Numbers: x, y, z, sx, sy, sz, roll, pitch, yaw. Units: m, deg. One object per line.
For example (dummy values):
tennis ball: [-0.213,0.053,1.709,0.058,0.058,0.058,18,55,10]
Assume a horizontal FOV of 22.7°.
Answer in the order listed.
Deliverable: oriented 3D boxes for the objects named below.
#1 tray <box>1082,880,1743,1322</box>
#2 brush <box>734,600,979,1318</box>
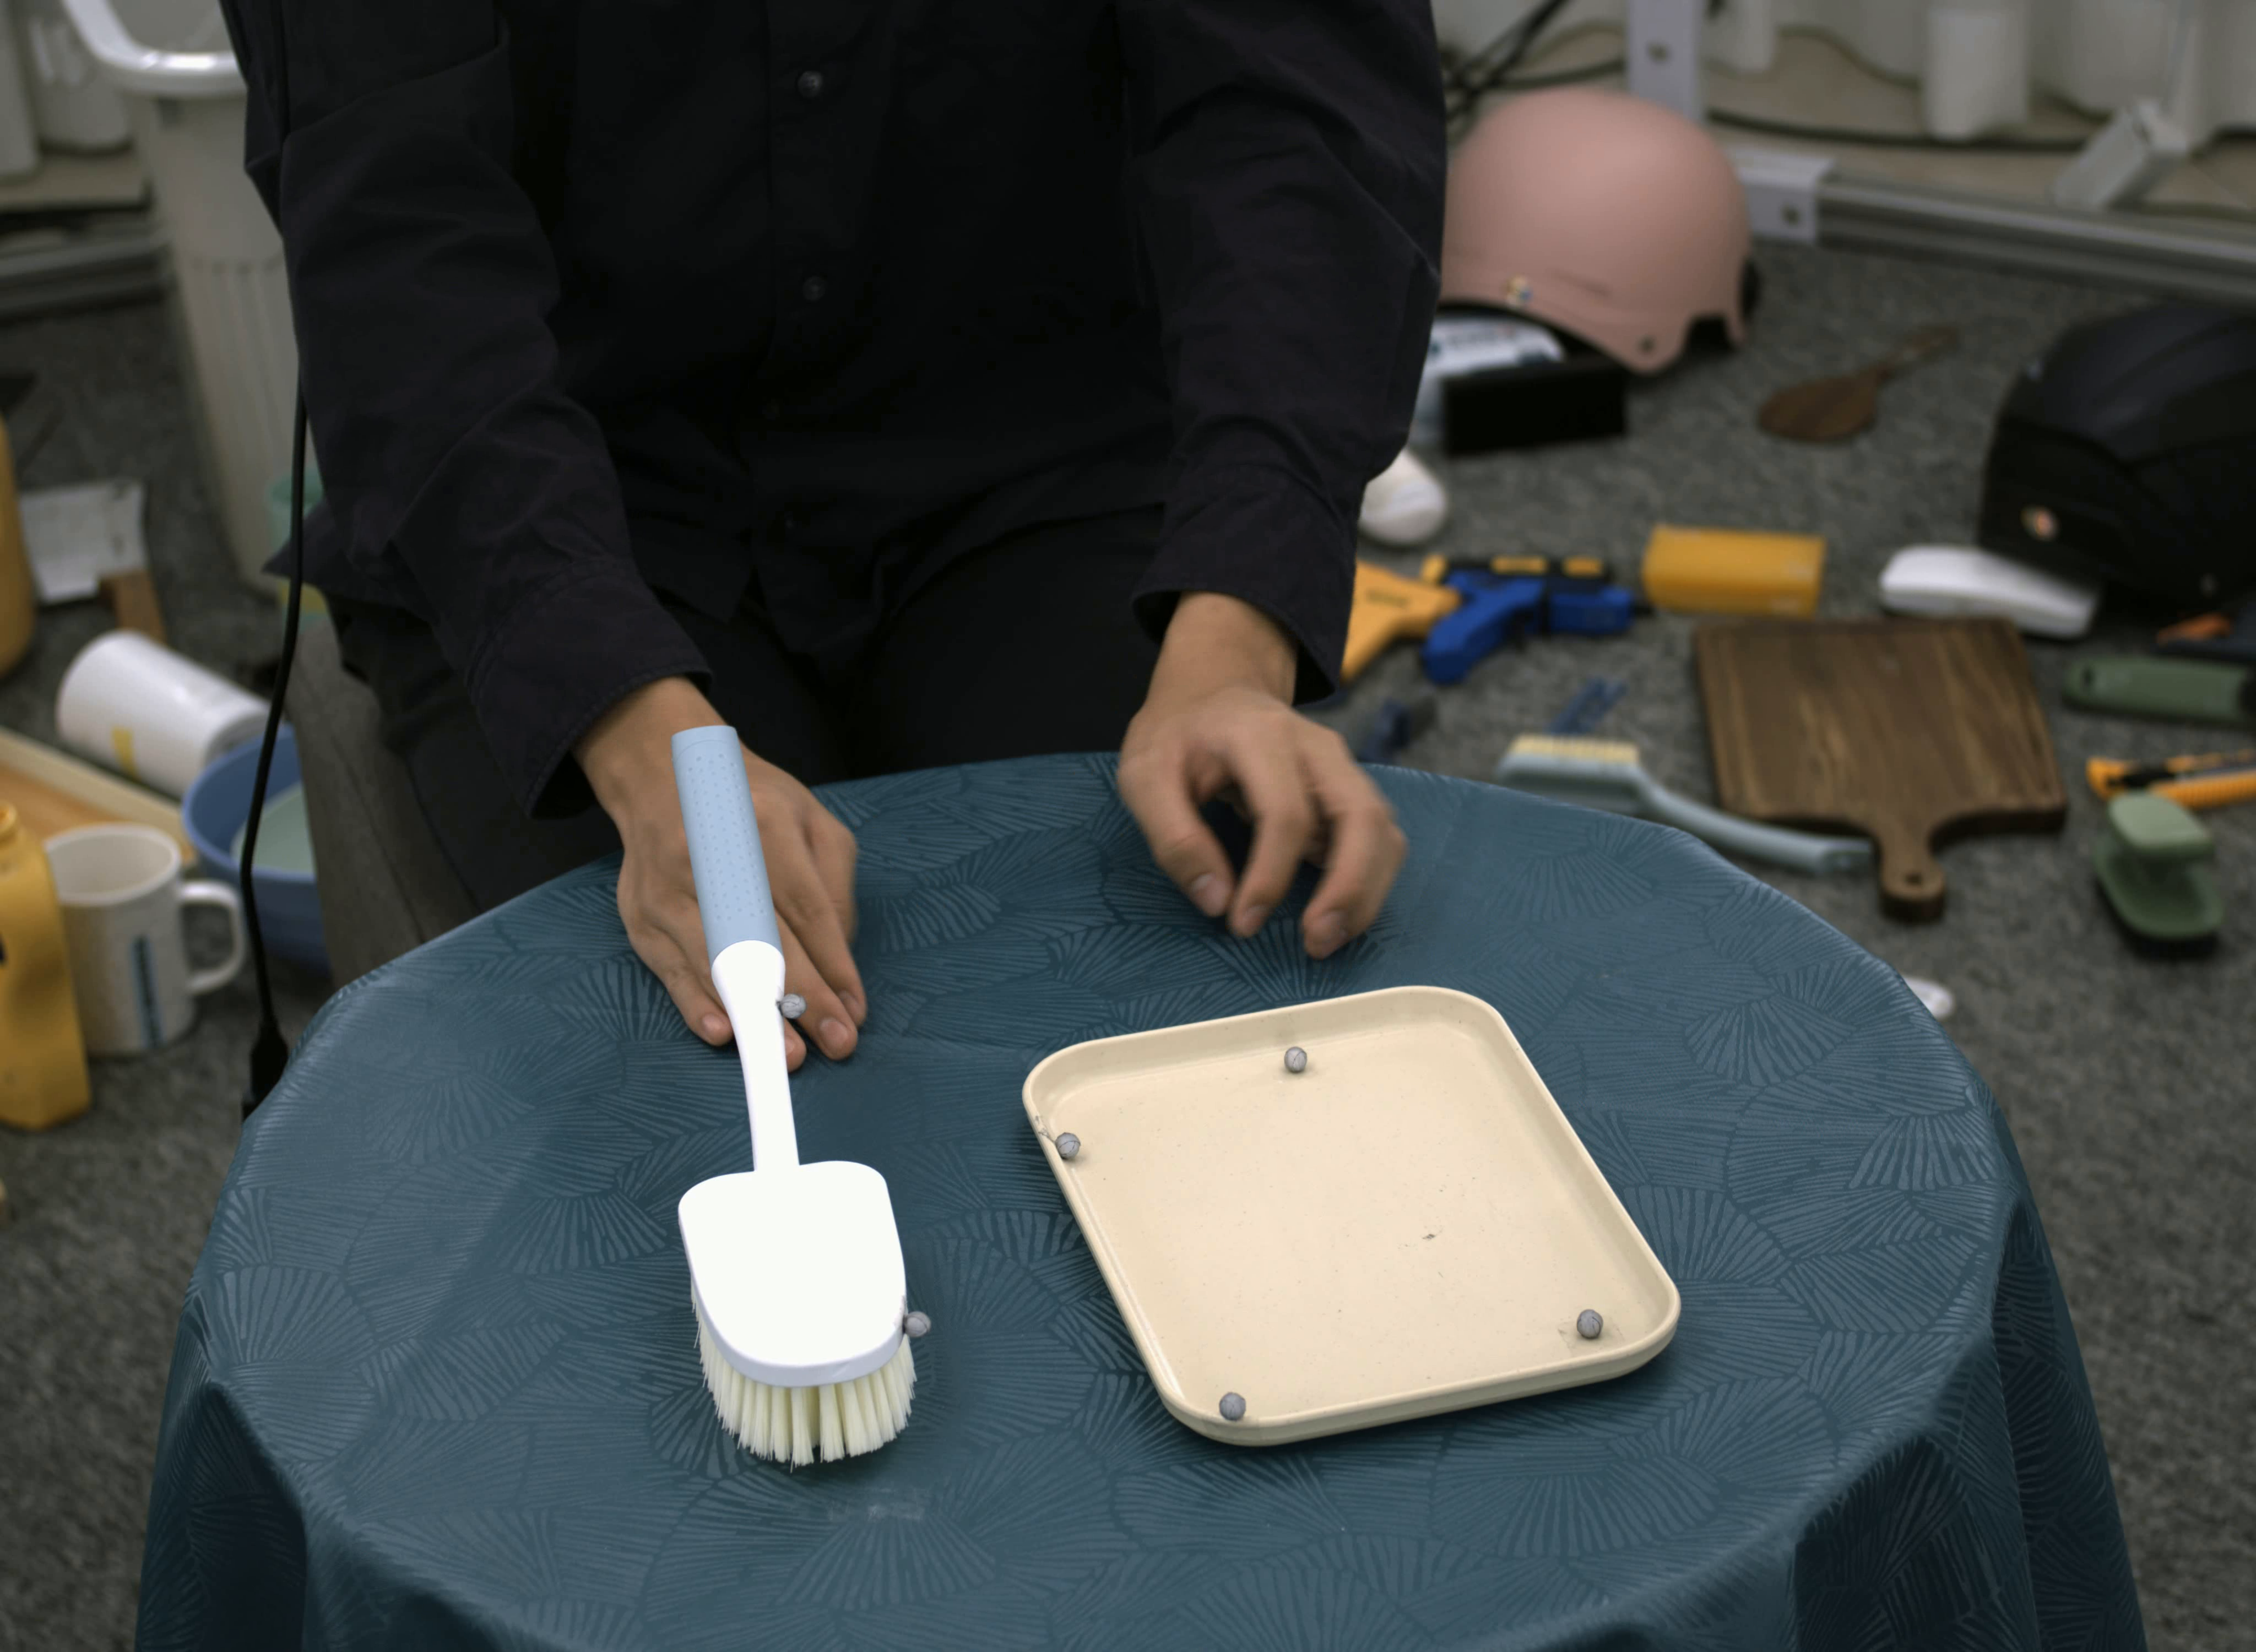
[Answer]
tray: [0.089,0.088,1.843,0.171,0.017,0.242,-9,29,-12]
brush: [-0.095,0.051,1.861,0.083,0.083,0.331,25,29,-28]
